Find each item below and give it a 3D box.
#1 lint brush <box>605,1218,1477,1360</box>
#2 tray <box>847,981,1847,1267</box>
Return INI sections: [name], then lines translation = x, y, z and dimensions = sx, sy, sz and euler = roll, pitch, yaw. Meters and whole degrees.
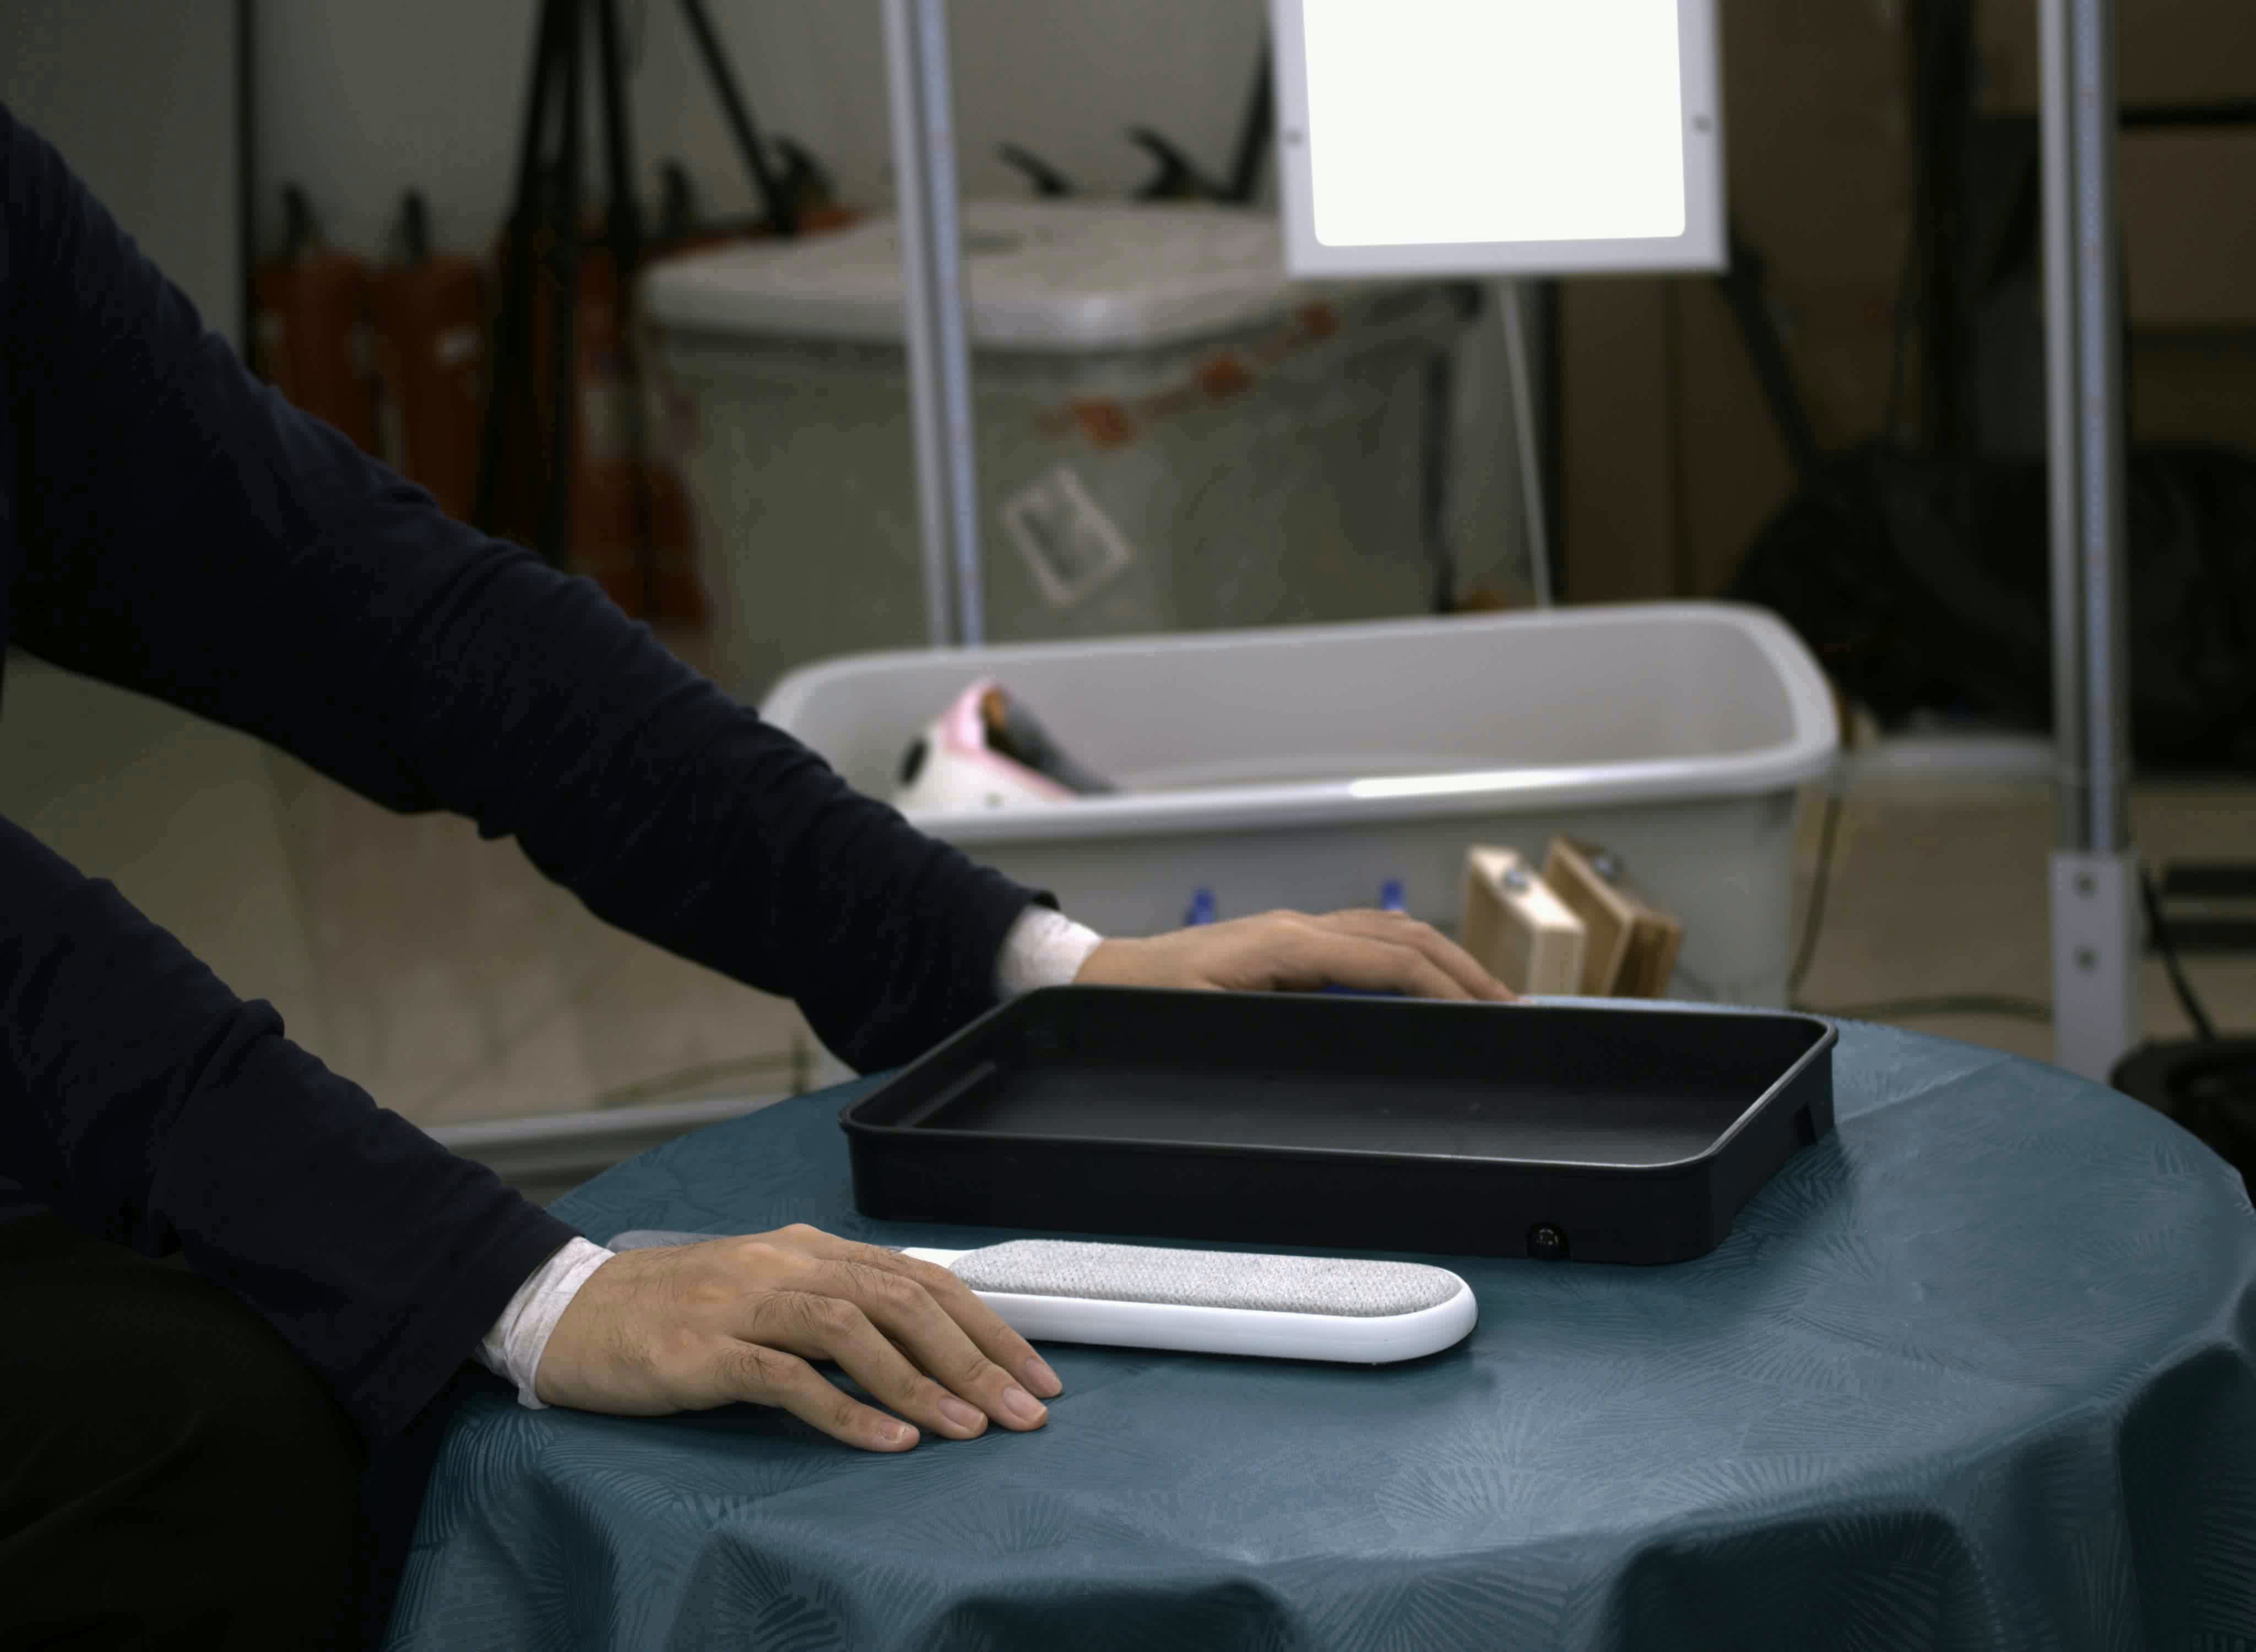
[lint brush]
translation = -0.034, 0.146, 1.779
dimensions = 0.314, 0.021, 0.059
euler = 2, 20, 27
[tray]
translation = 0.077, 0.100, 1.909
dimensions = 0.323, 0.037, 0.180
euler = 2, 15, 27
